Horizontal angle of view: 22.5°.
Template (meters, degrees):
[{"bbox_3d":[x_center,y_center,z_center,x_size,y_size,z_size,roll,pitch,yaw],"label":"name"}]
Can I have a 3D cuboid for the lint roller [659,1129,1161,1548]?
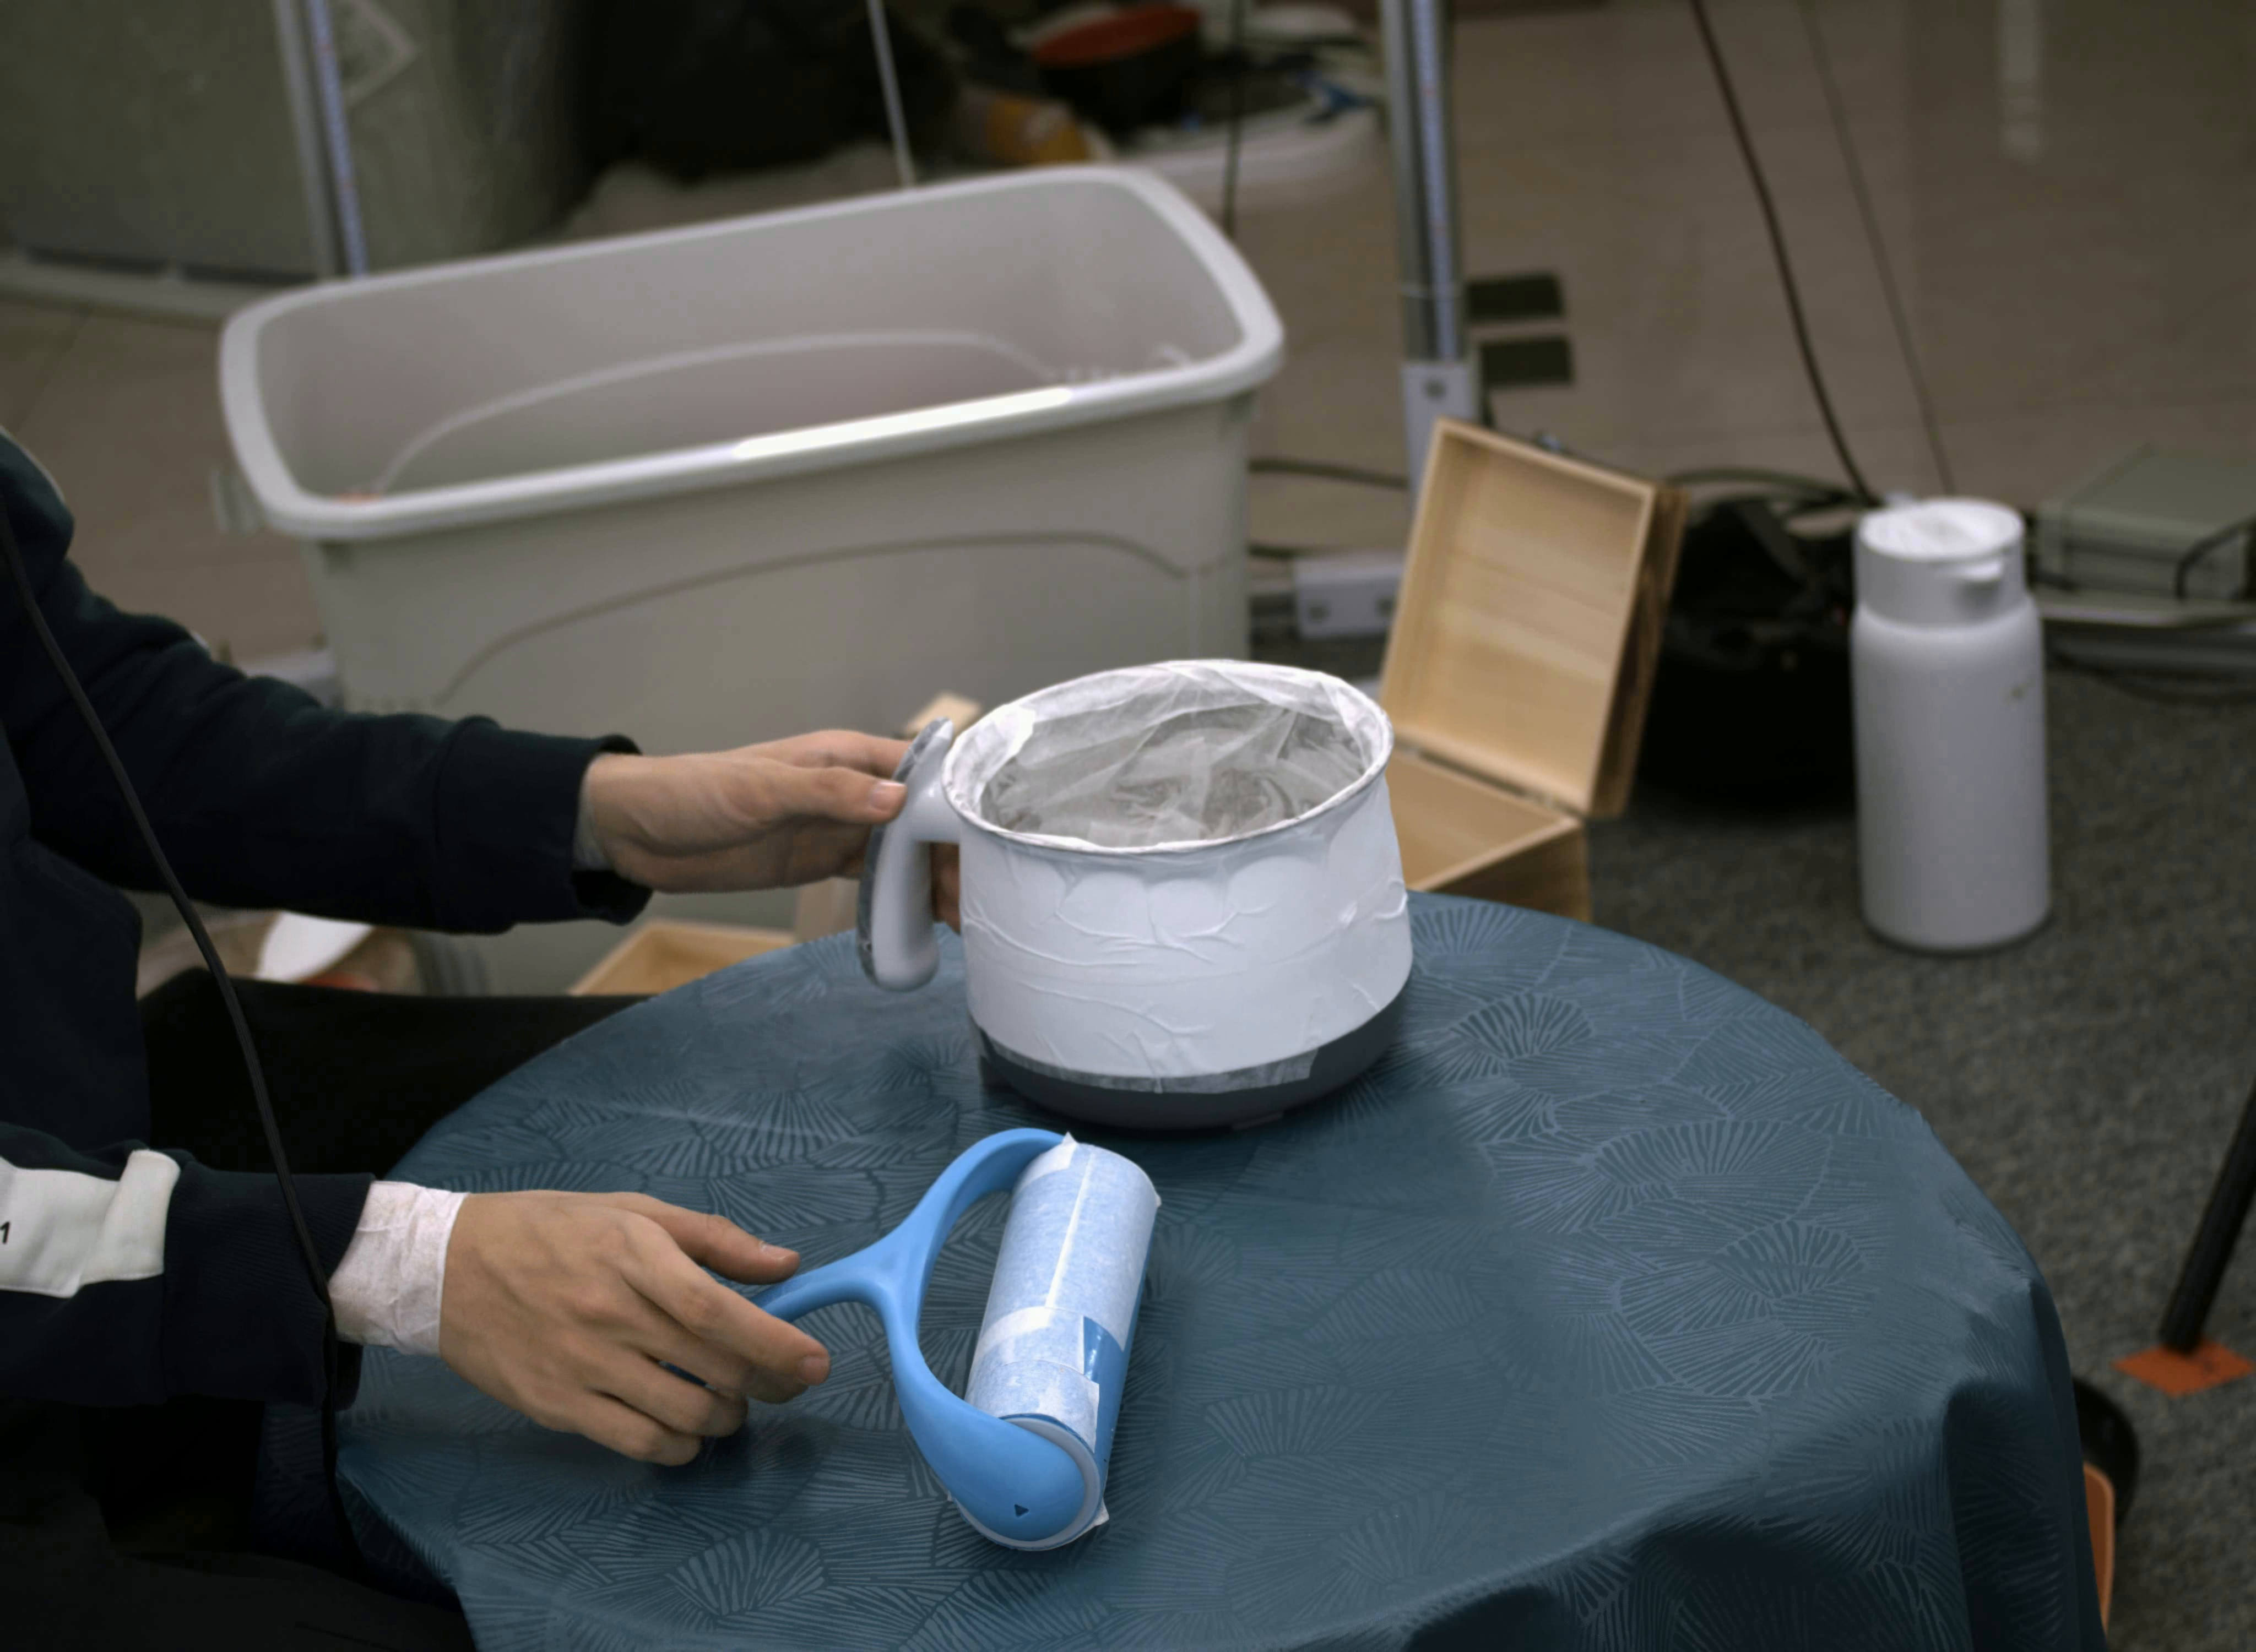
[{"bbox_3d":[-0.080,0.183,2.002,0.180,0.069,0.225,-4,27,4],"label":"lint roller"}]

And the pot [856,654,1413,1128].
[{"bbox_3d":[-0.003,0.024,2.221,0.233,0.139,0.176,7,28,24],"label":"pot"}]
